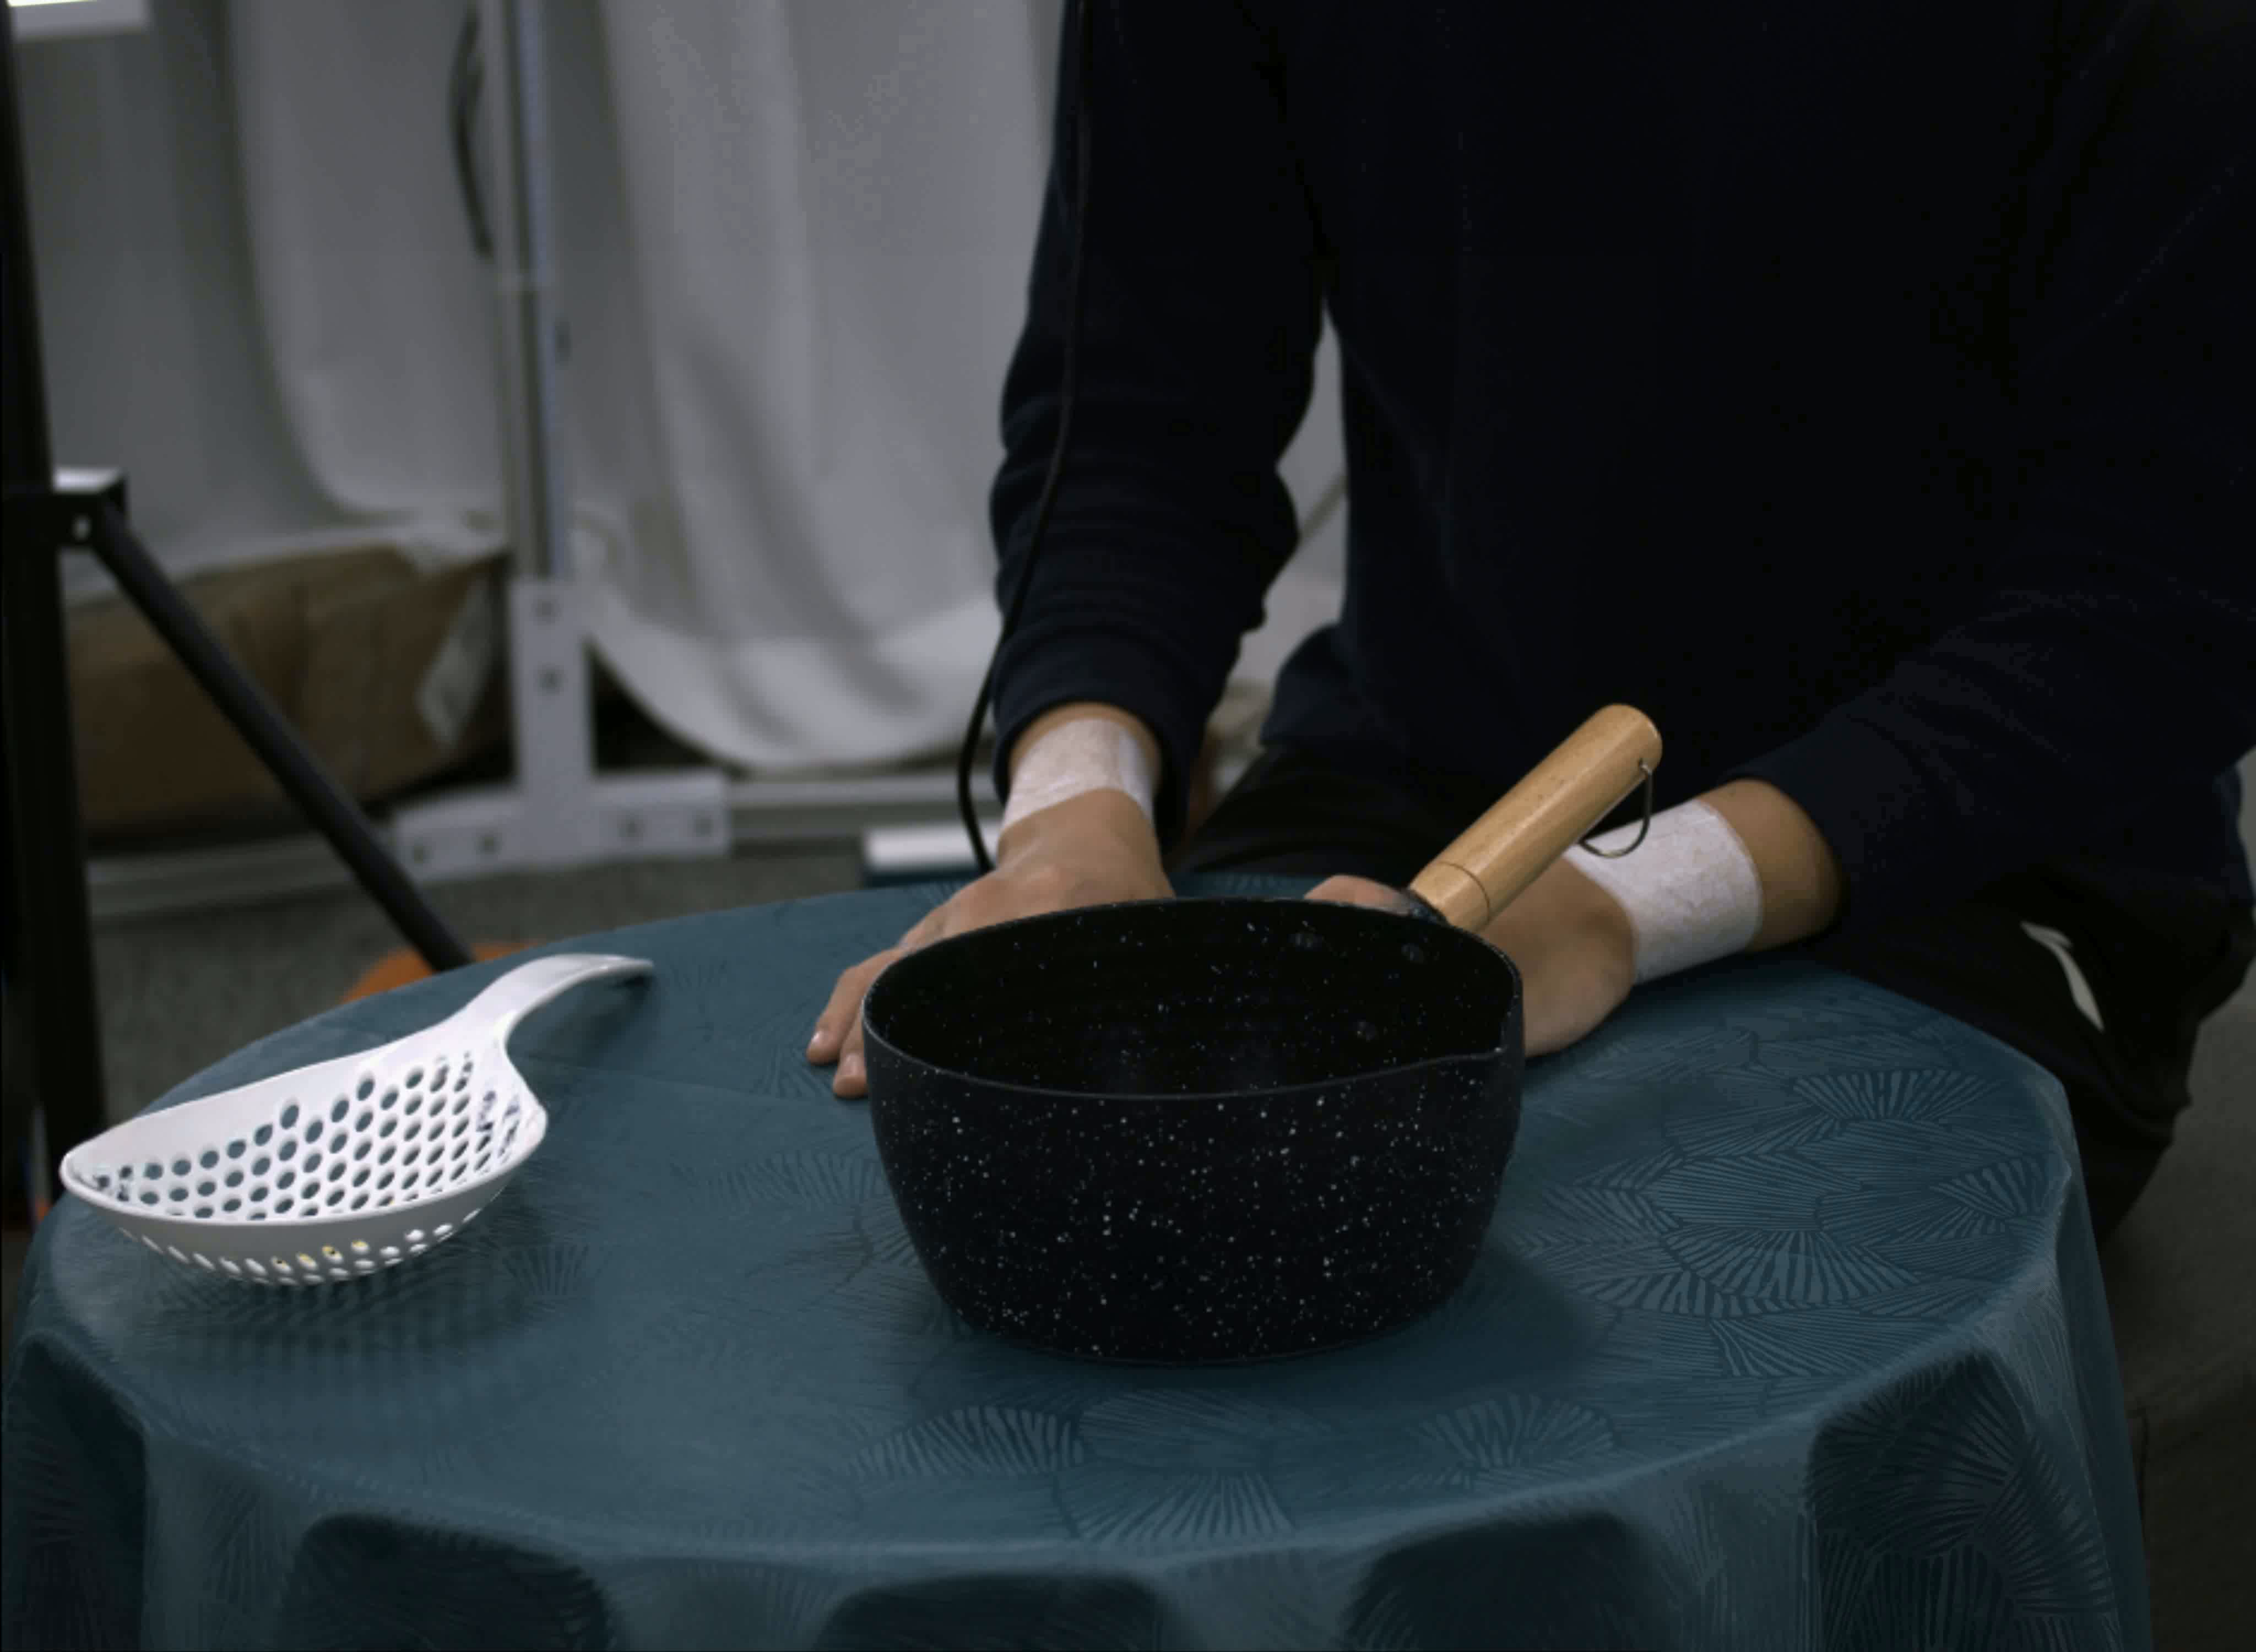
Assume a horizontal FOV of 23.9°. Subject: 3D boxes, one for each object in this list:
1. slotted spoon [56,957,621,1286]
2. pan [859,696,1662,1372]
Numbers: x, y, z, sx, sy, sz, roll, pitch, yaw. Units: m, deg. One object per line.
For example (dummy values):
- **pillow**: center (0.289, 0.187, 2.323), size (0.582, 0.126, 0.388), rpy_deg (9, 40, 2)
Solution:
- **slotted spoon**: center (-0.208, 0.076, 1.627), size (0.138, 0.050, 0.345), rpy_deg (-1, 17, 14)
- **pan**: center (0.062, 0.055, 1.537), size (0.211, 0.108, 0.336), rpy_deg (7, 19, 34)
